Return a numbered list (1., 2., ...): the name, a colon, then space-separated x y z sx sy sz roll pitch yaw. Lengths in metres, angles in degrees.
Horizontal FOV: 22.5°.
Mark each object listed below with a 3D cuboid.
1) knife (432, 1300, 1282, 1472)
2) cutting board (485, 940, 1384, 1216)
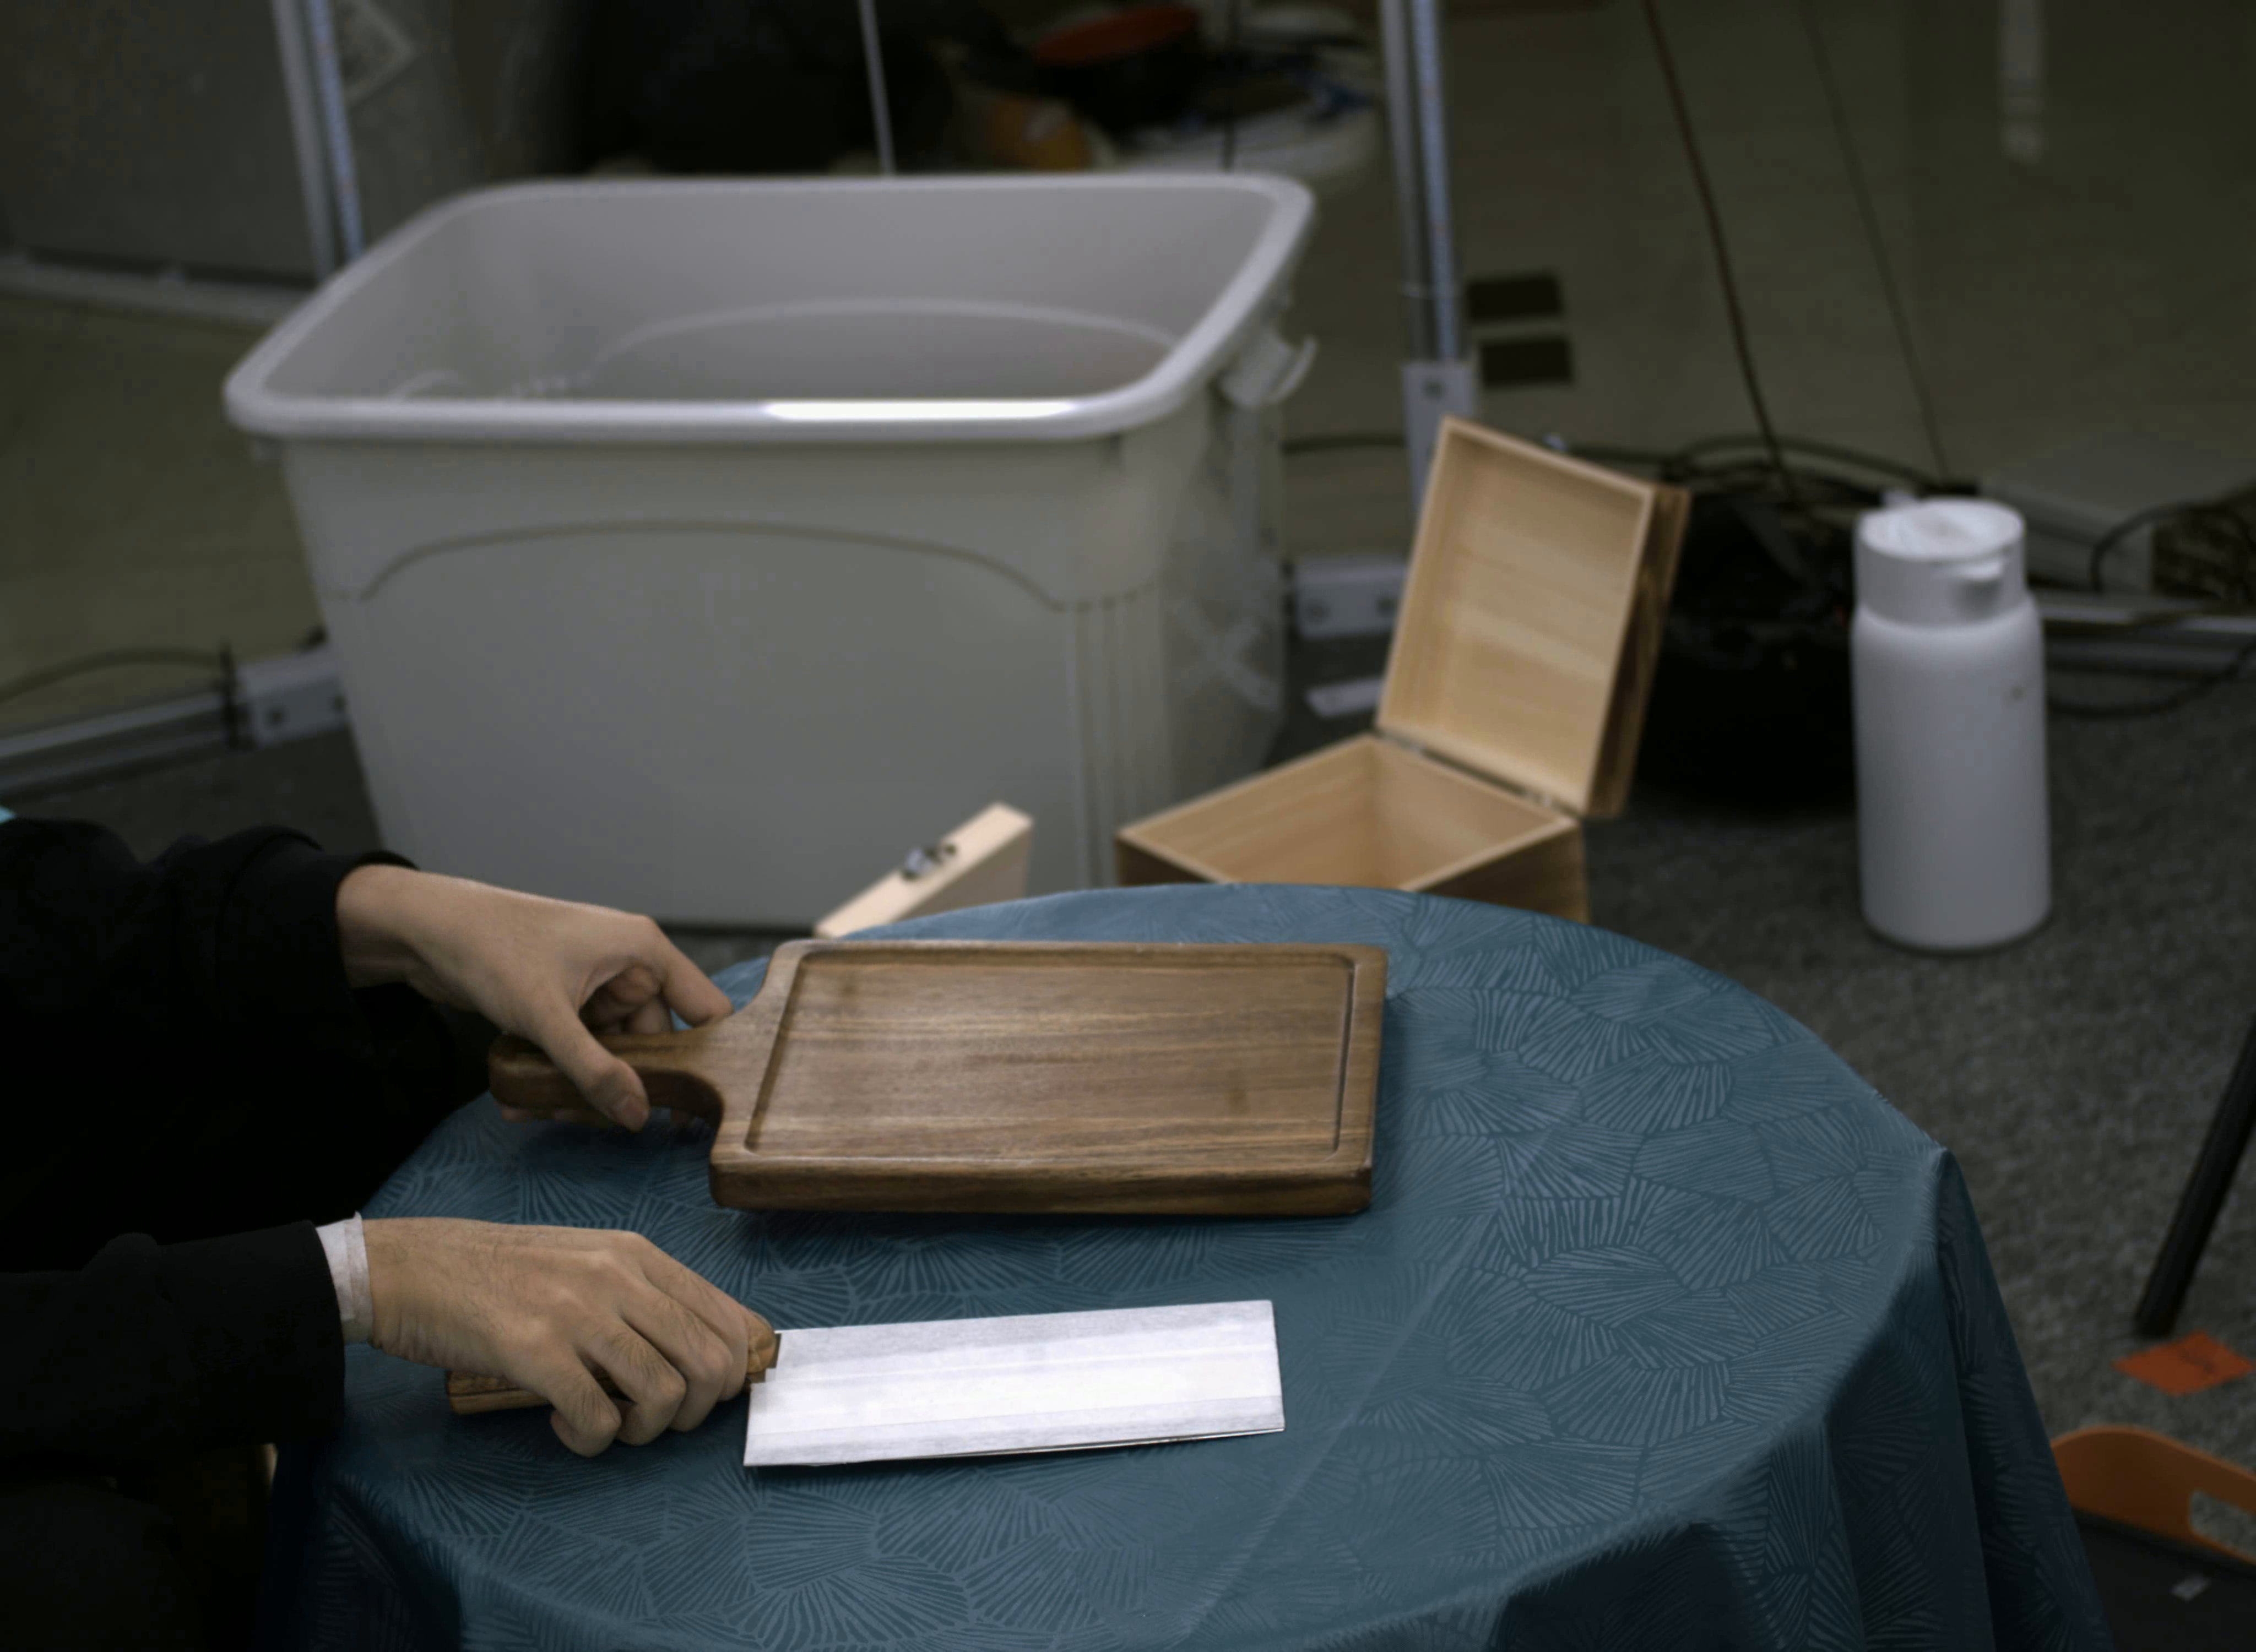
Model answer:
1. knife: -0.098 0.201 2.021 0.305 0.021 0.091 -4 27 0
2. cutting board: -0.076 0.096 2.206 0.351 0.023 0.198 0 26 4
